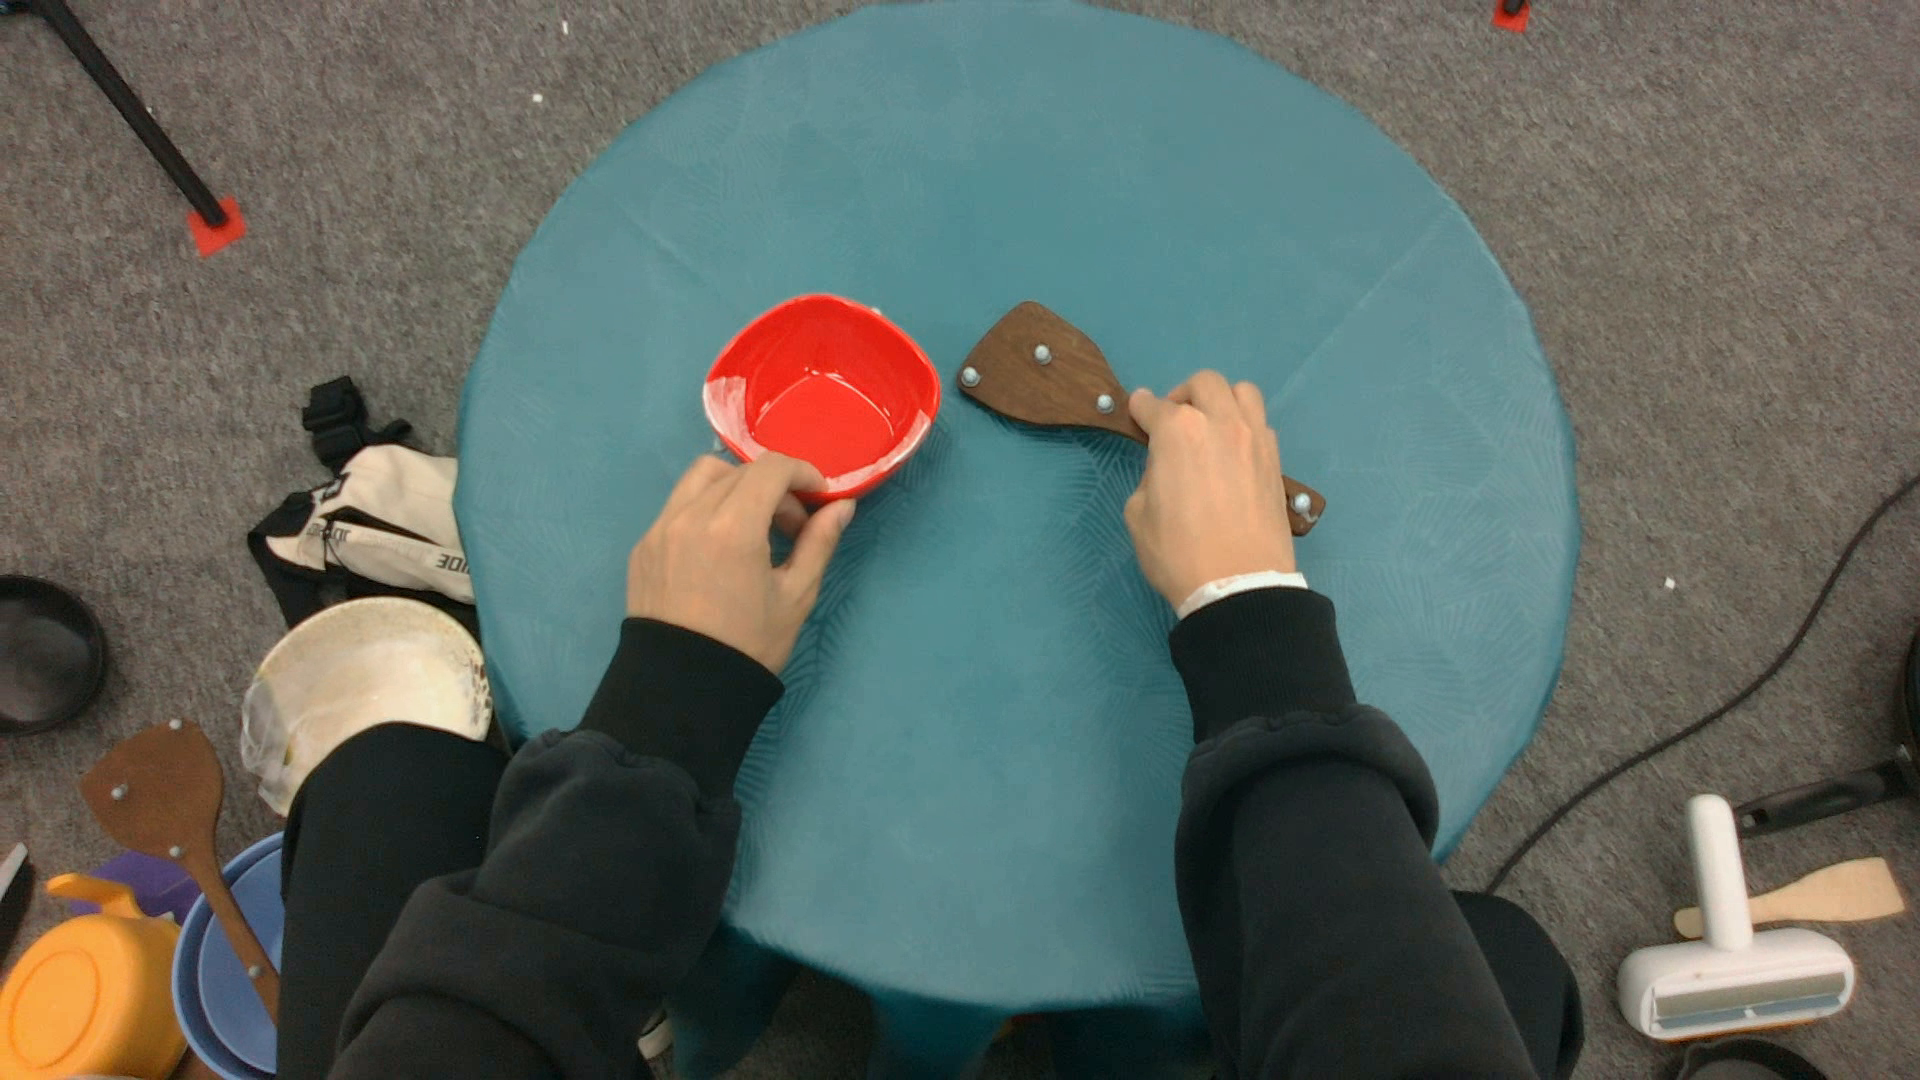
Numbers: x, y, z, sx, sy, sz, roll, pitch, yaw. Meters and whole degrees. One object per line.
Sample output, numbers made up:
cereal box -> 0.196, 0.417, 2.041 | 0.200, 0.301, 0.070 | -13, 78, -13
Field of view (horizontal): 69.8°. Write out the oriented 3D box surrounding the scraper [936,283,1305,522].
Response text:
scraper -> 0.086, -0.069, 0.730 | 0.211, 0.011, 0.076 | 32, 67, 21

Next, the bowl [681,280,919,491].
bowl -> -0.081, -0.071, 0.711 | 0.119, 0.051, 0.119 | 3, 62, -5
